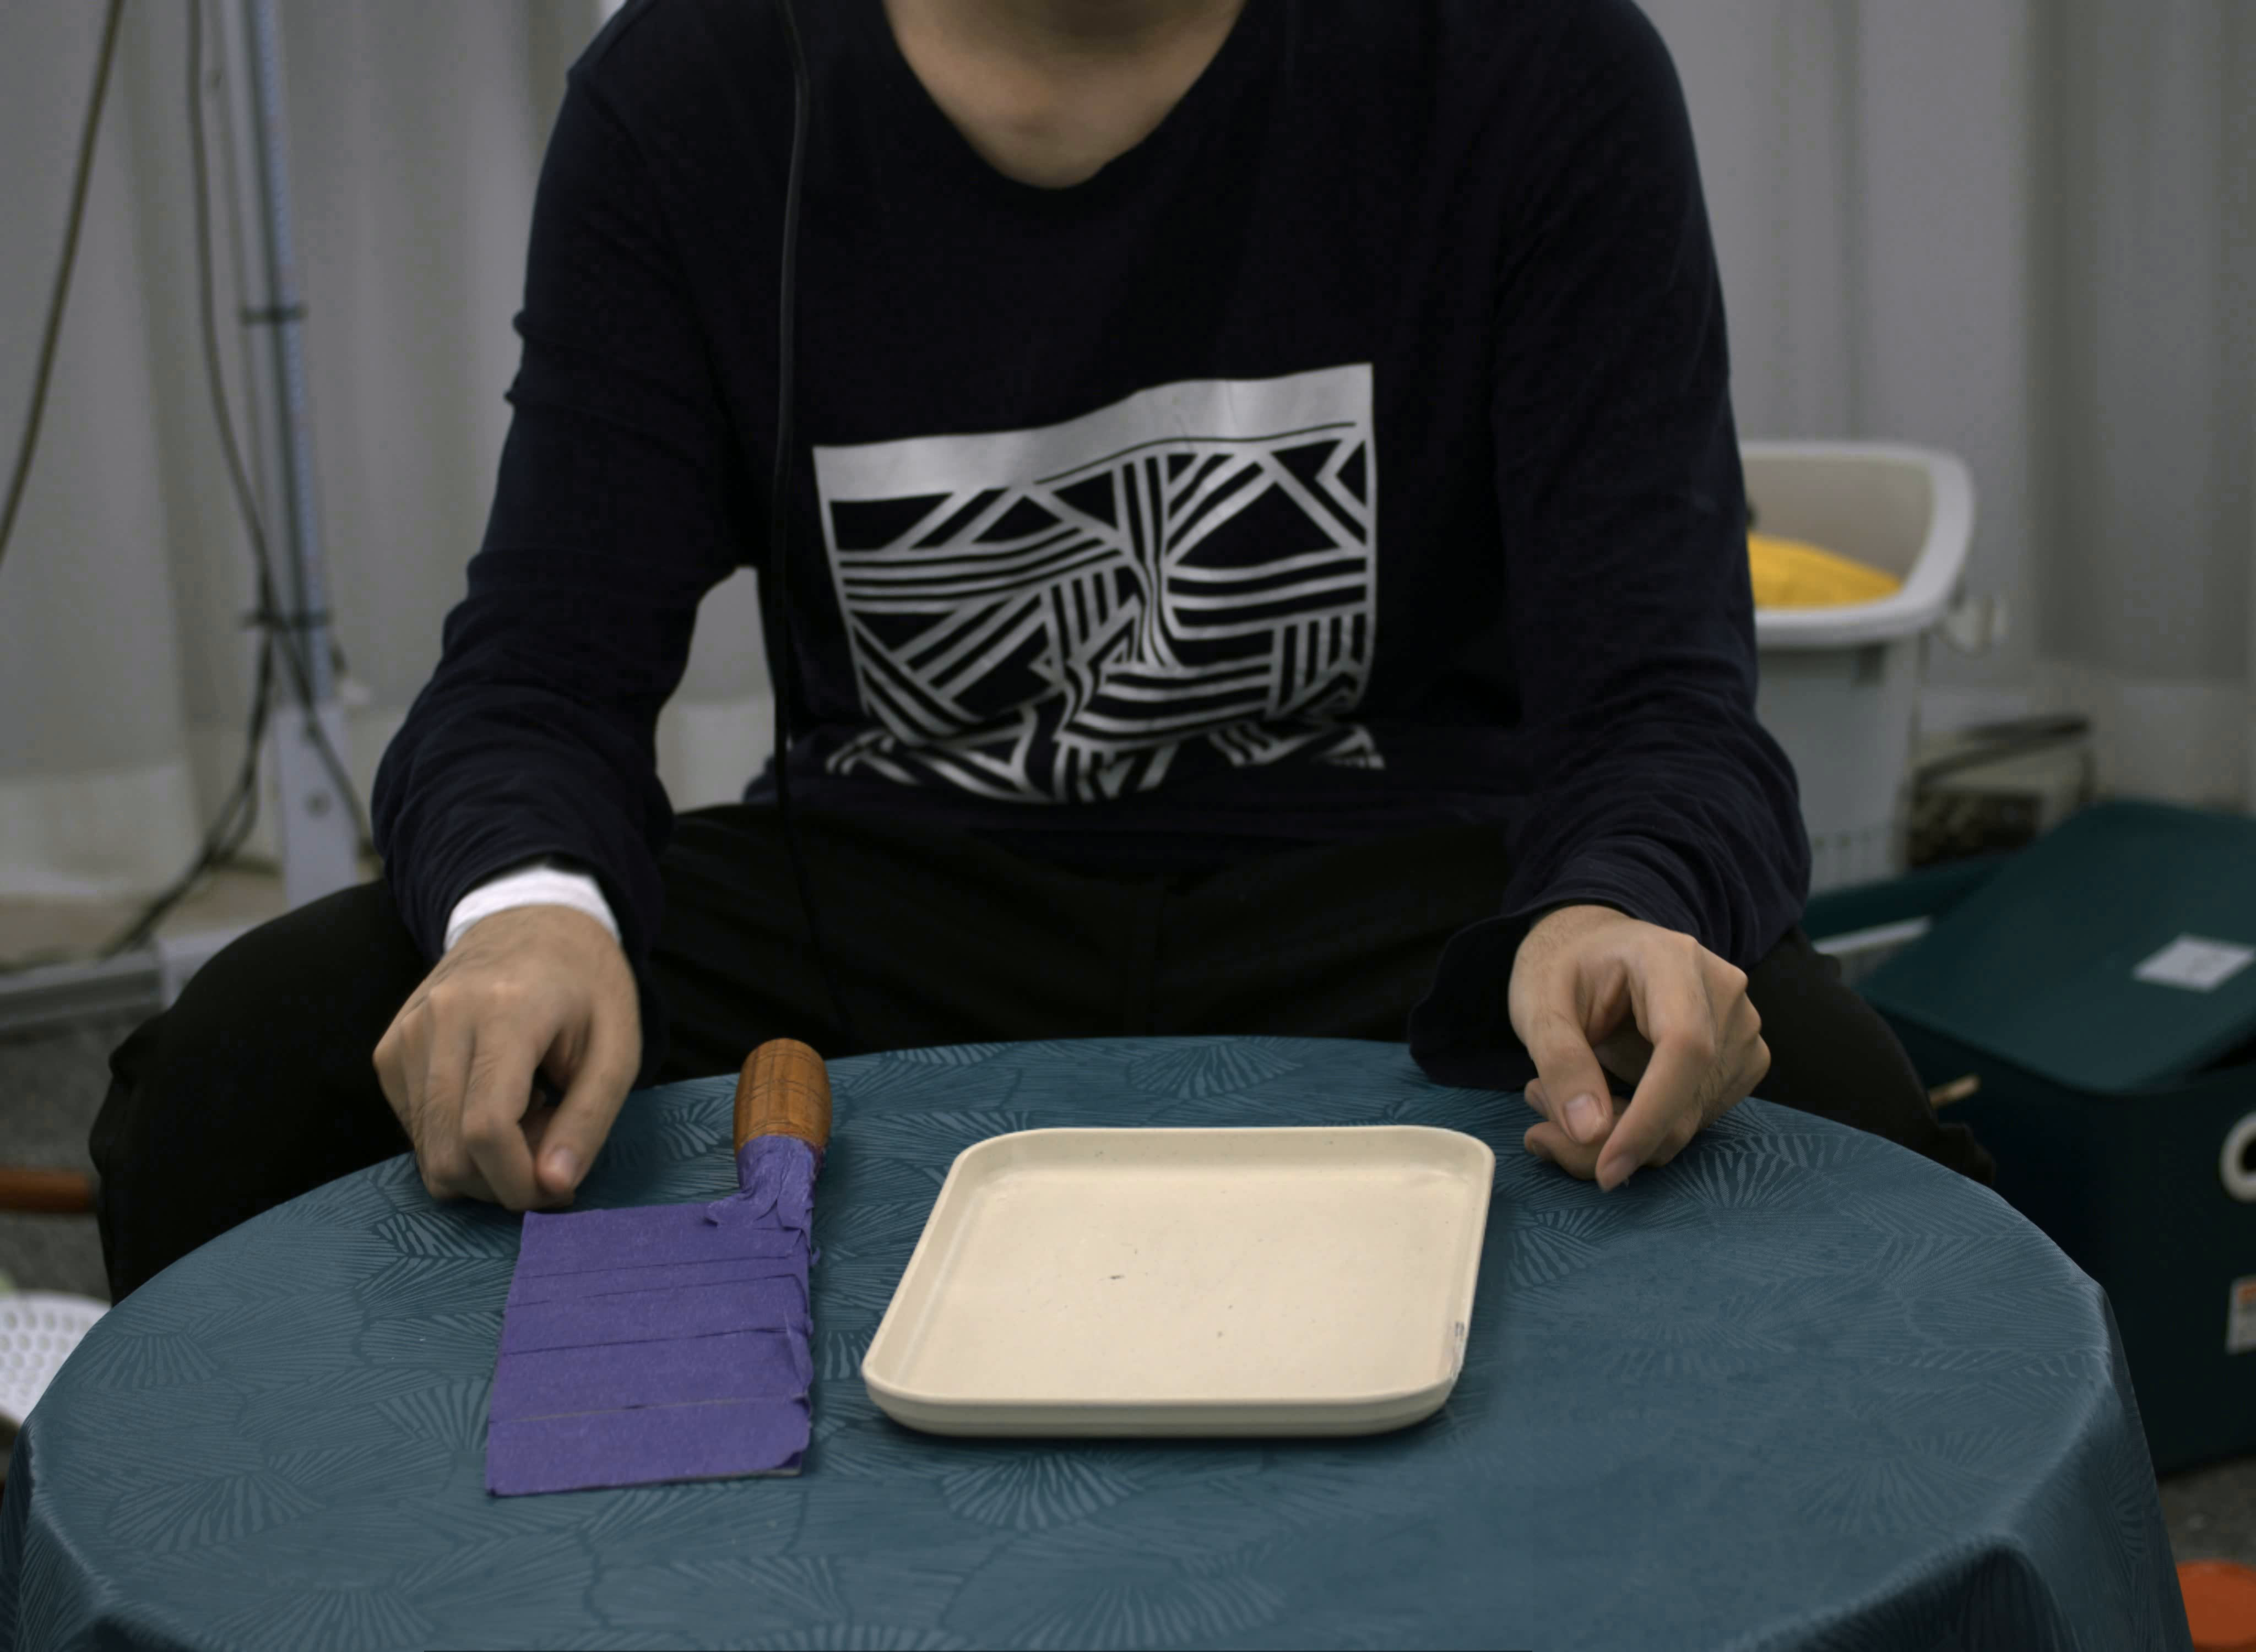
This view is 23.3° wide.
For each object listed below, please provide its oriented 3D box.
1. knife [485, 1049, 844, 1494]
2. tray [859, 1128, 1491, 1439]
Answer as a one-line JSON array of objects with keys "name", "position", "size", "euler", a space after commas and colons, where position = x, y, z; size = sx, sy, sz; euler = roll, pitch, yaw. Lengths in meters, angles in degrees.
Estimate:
[{"name": "knife", "position": [-0.138, 0.129, 1.637], "size": [0.103, 0.032, 0.317], "euler": [-3, 15, -3]}, {"name": "tray", "position": [0.019, 0.134, 1.608], "size": [0.171, 0.017, 0.241], "euler": [-1, 15, 8]}]
